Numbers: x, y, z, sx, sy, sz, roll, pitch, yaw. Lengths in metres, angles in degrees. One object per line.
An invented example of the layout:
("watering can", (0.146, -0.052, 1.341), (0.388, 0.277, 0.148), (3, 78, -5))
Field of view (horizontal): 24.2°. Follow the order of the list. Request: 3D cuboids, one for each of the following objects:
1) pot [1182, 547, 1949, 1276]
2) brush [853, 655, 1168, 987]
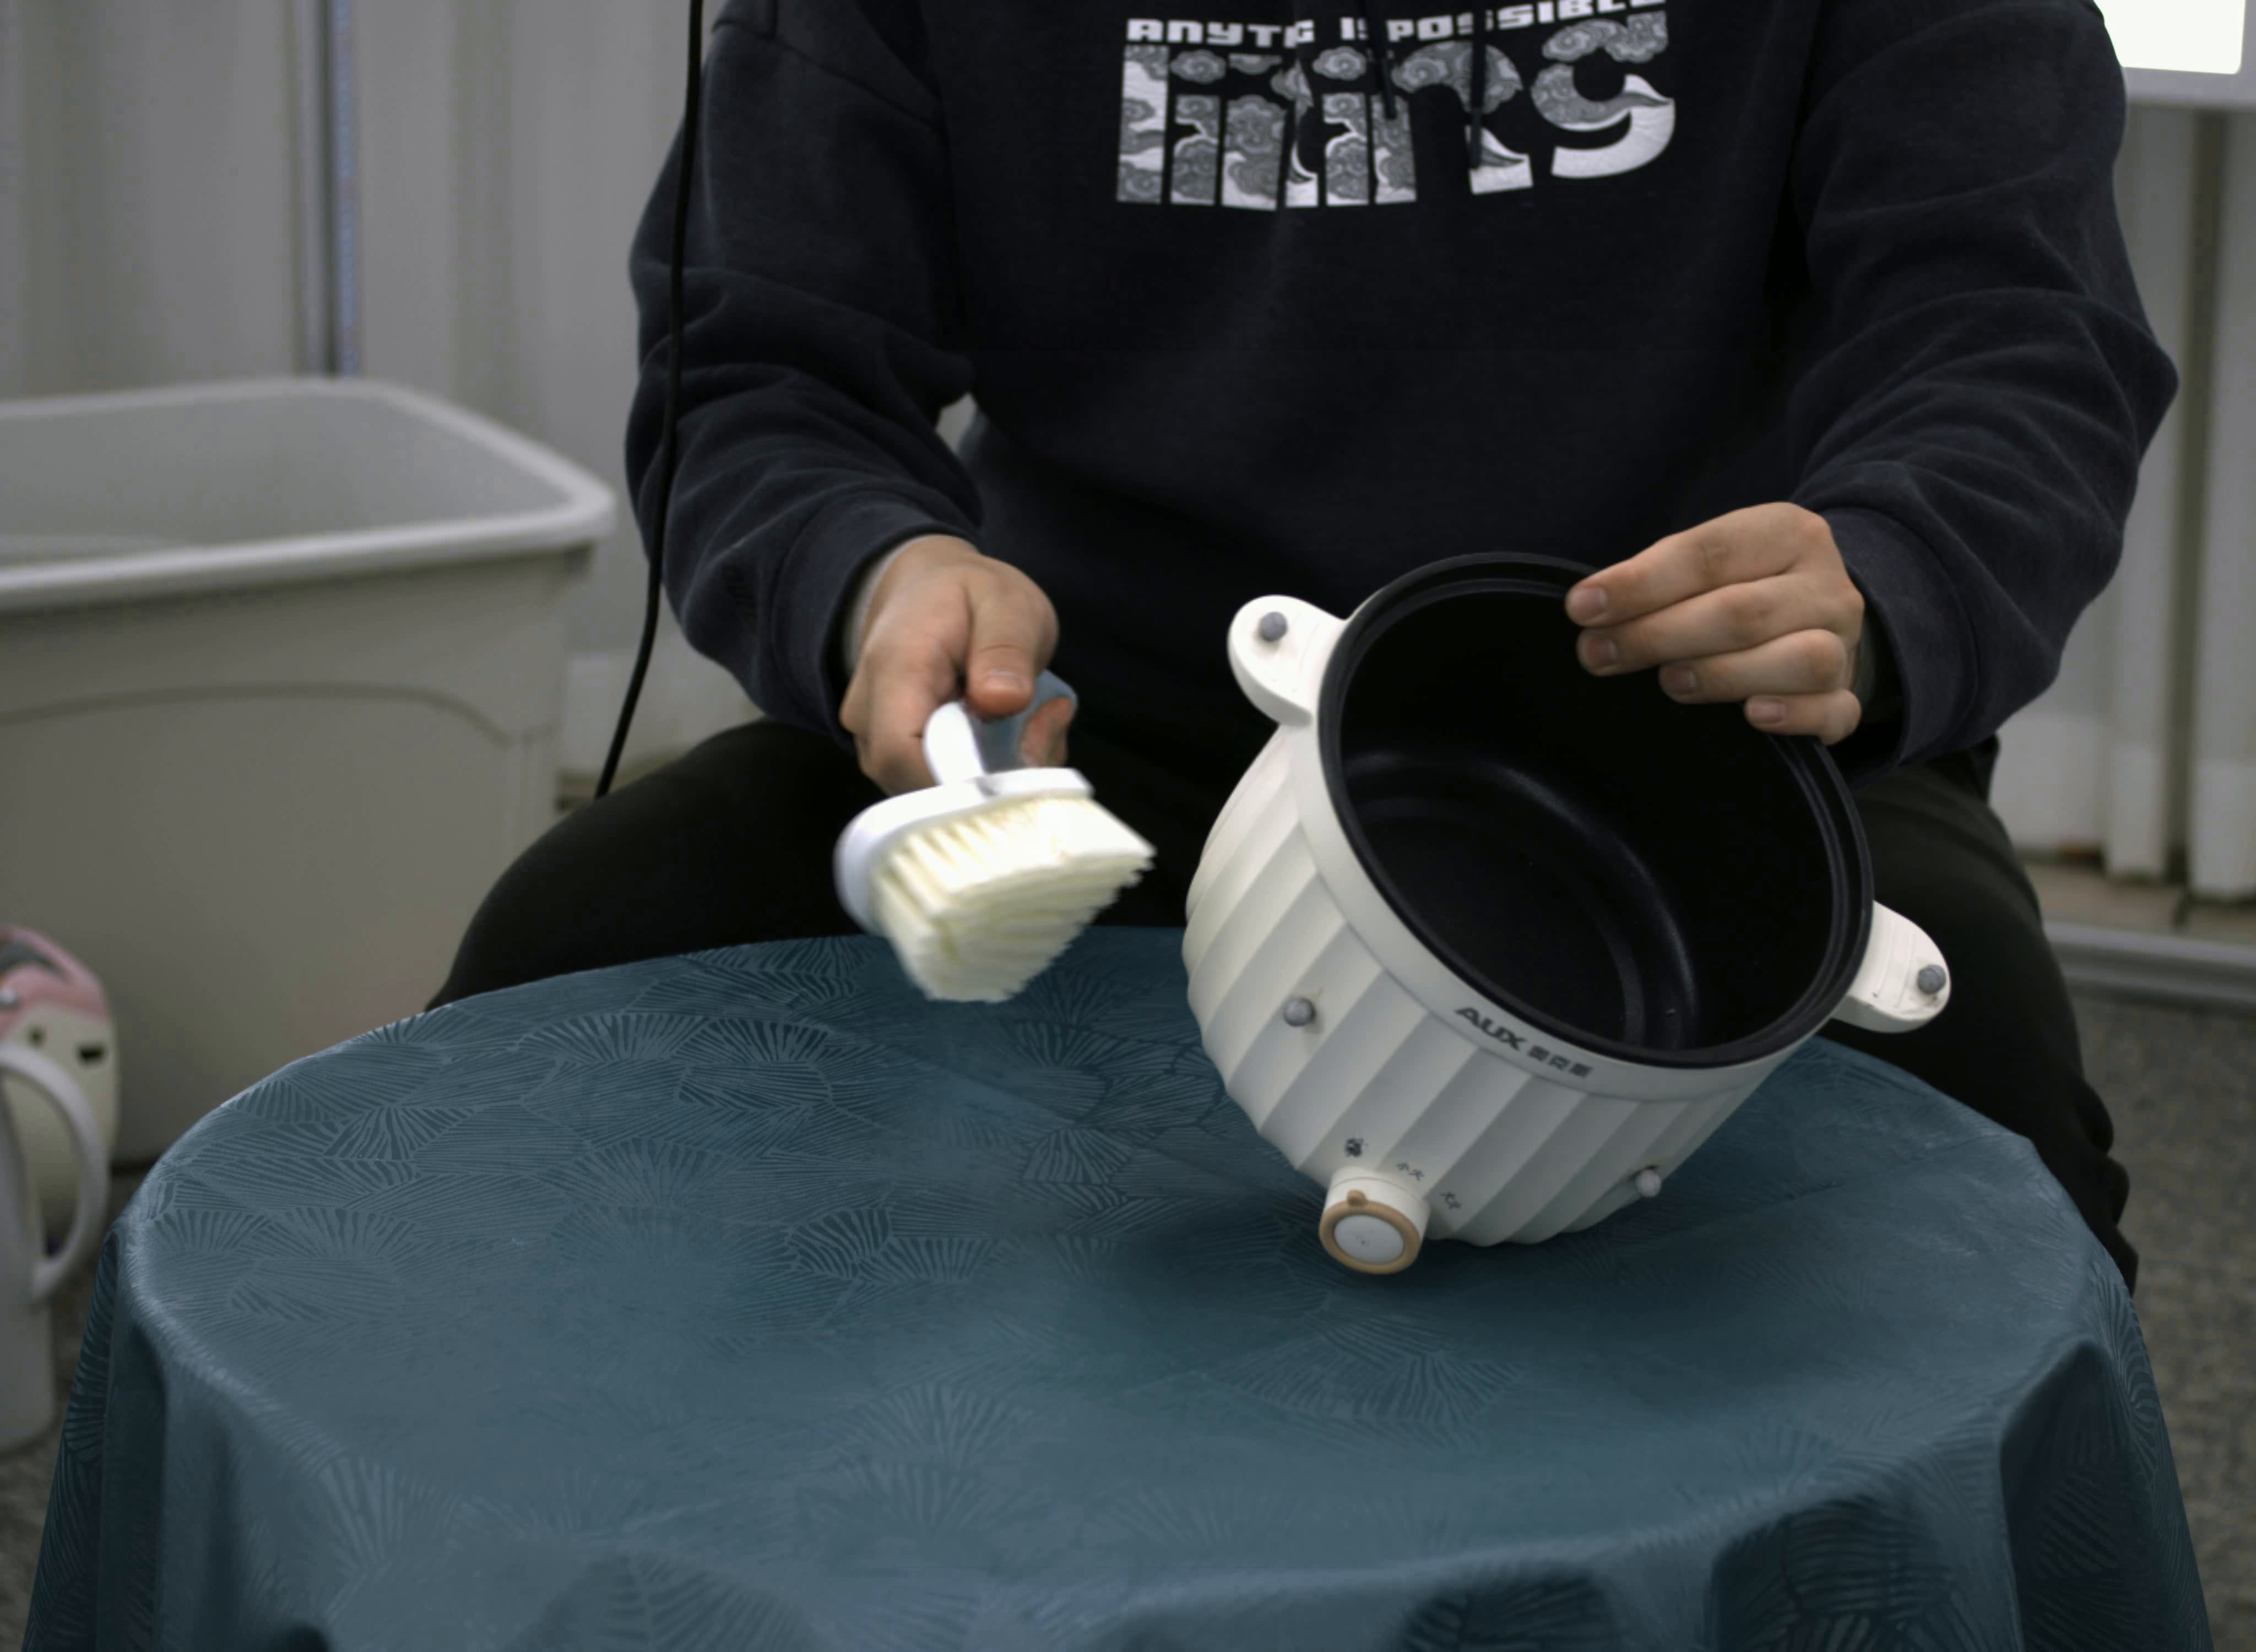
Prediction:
("pot", (0.111, 0.033, 1.575), (0.241, 0.143, 0.189), (26, 44, -8))
("brush", (-0.021, -0.003, 1.678), (0.082, 0.085, 0.325), (-9, 7, 9))
